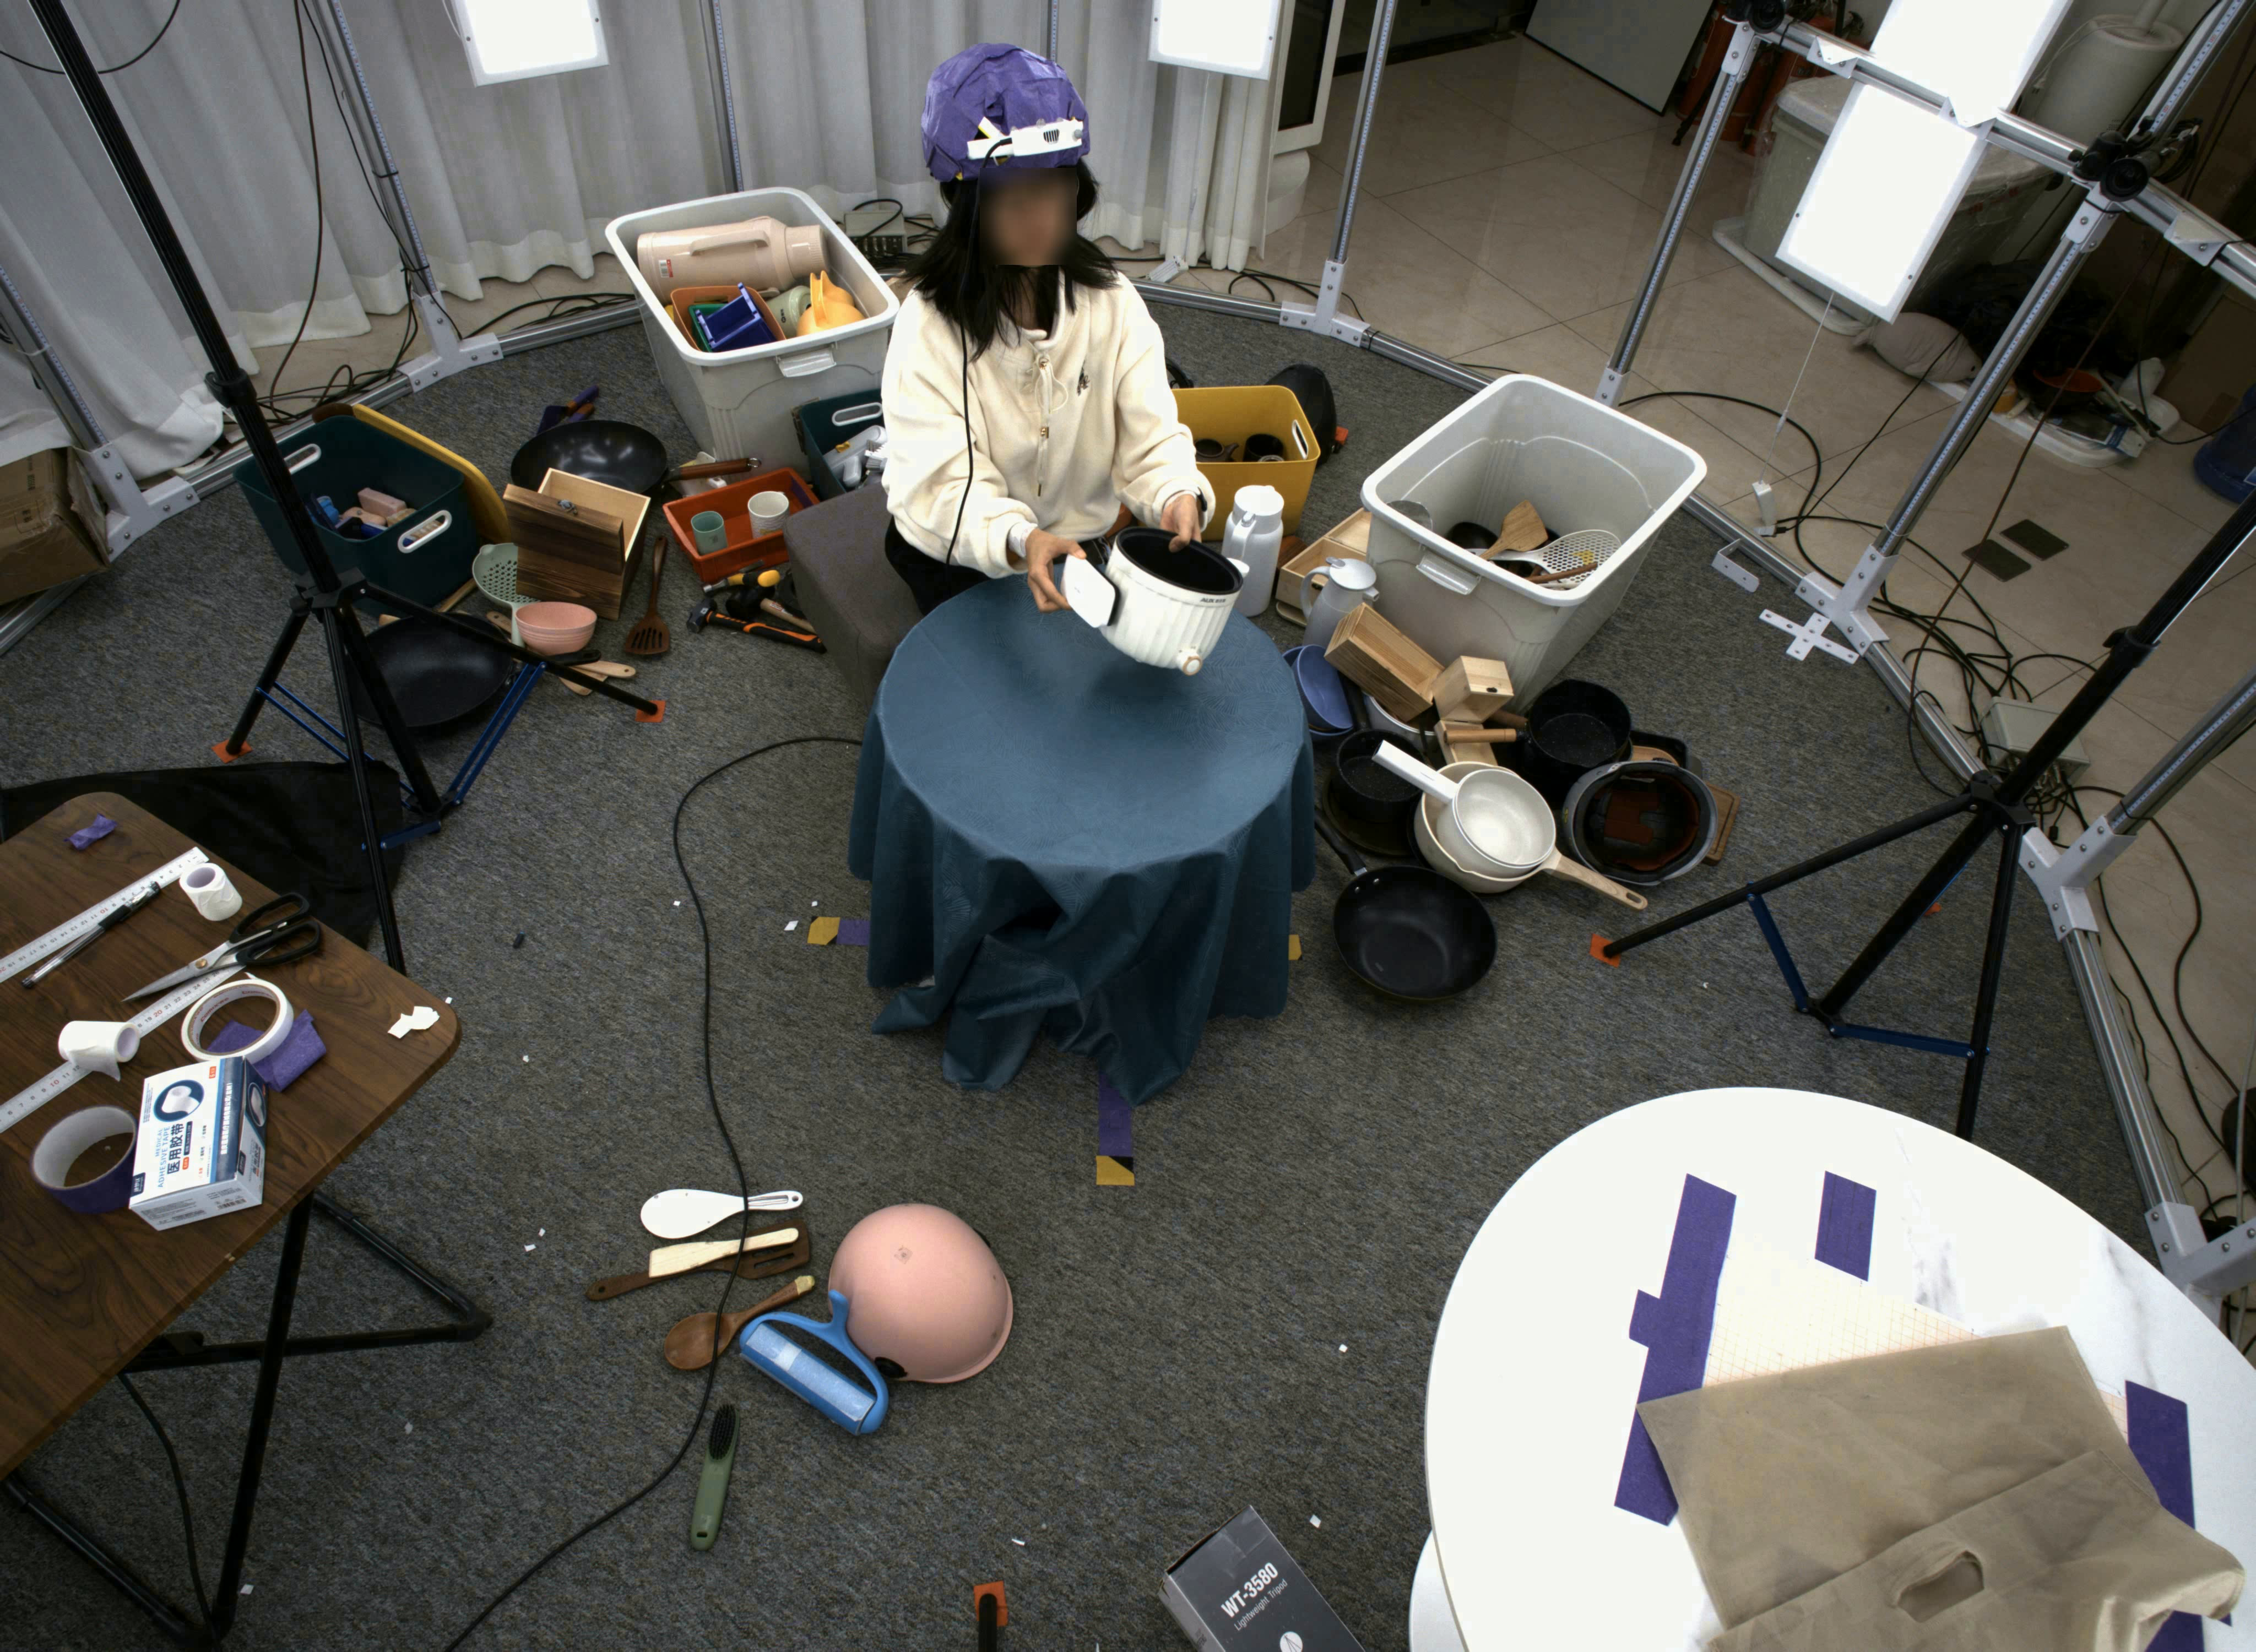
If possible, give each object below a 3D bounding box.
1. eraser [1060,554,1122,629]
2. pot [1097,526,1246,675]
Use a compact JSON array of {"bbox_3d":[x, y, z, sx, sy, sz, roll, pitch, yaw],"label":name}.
[{"bbox_3d":[-0.053,-0.316,1.724,0.034,0.062,0.134,0,32,-31],"label":"eraser"},{"bbox_3d":[0.051,-0.304,1.756,0.240,0.140,0.194,-6,37,-36],"label":"pot"}]
